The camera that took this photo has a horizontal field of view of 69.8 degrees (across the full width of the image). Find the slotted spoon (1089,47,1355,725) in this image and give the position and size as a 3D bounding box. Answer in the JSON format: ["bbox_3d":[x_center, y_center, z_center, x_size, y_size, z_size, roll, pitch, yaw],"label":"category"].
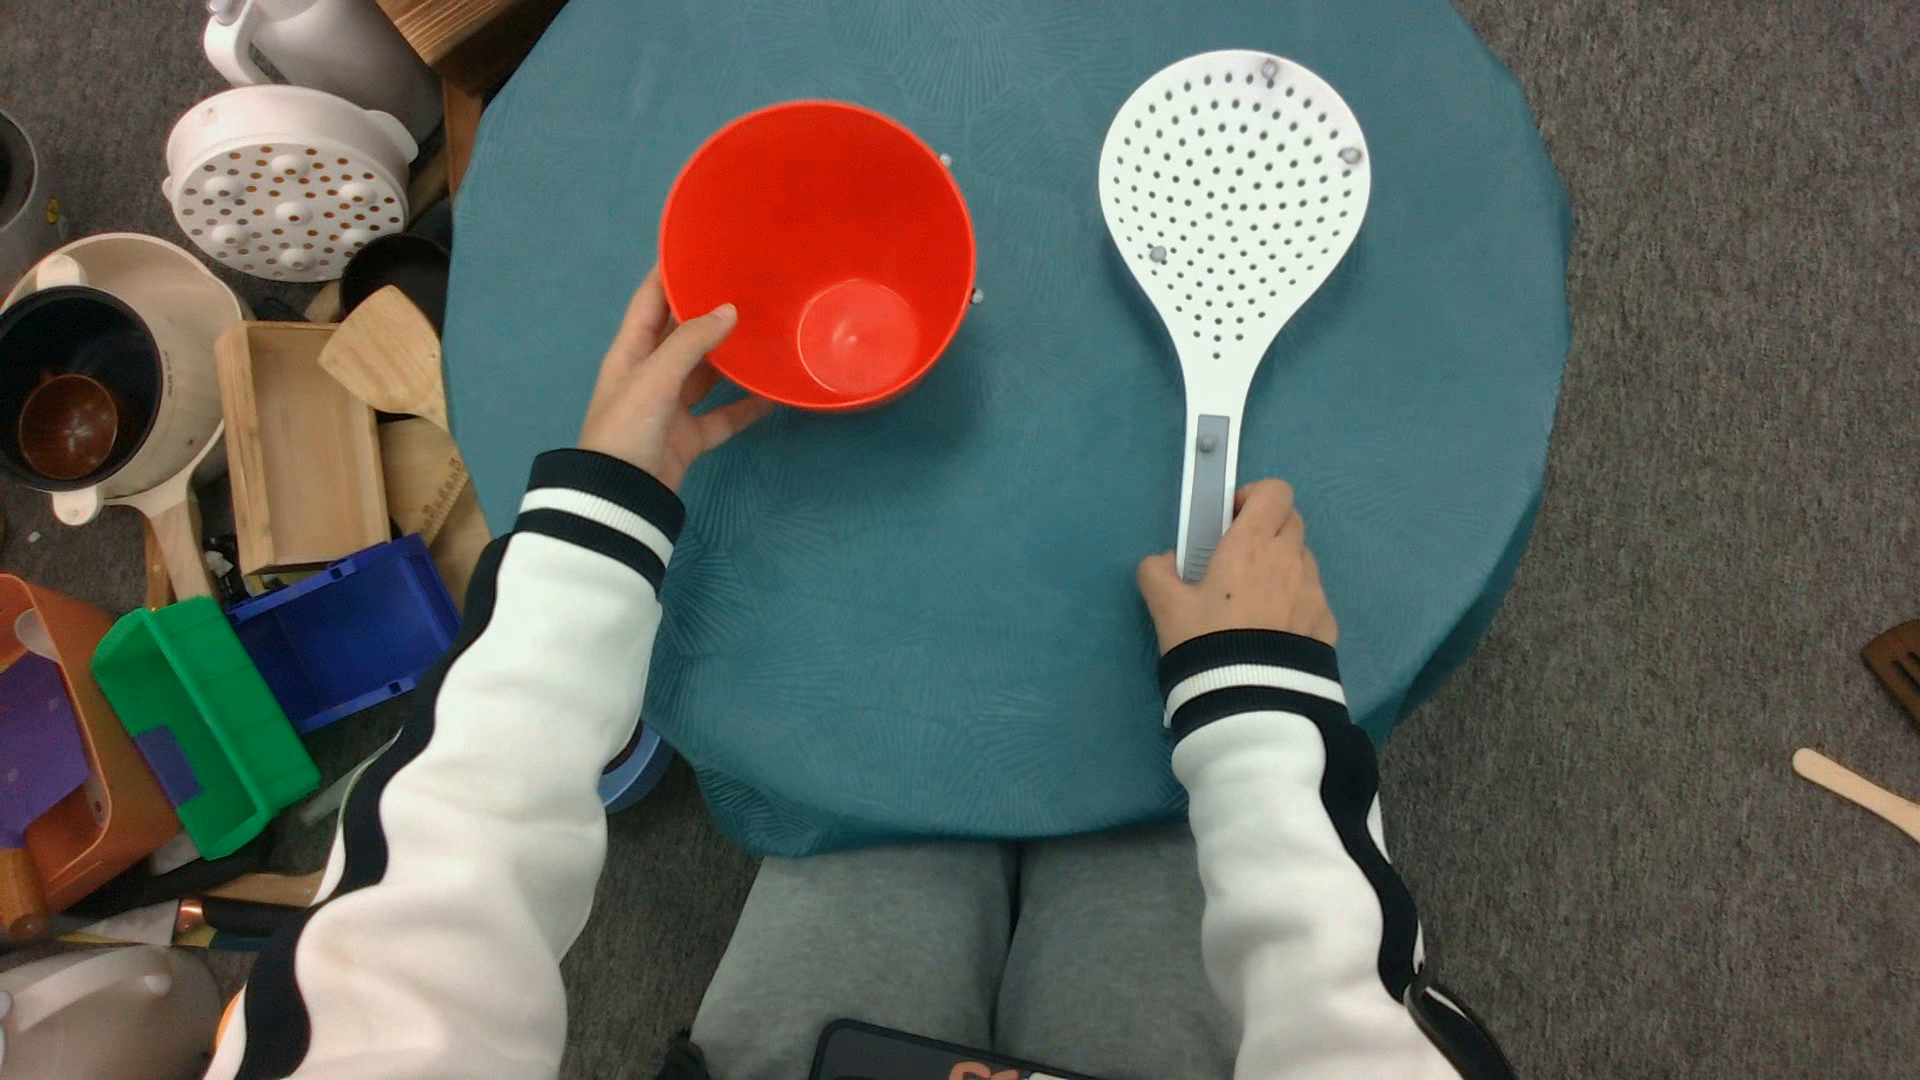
[{"bbox_3d":[0.123,-0.083,0.697,0.136,0.045,0.350,5,76,5],"label":"slotted spoon"}]

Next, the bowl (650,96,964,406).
[{"bbox_3d":[-0.071,-0.130,0.689,0.148,0.104,0.148,0,76,0],"label":"bowl"}]
